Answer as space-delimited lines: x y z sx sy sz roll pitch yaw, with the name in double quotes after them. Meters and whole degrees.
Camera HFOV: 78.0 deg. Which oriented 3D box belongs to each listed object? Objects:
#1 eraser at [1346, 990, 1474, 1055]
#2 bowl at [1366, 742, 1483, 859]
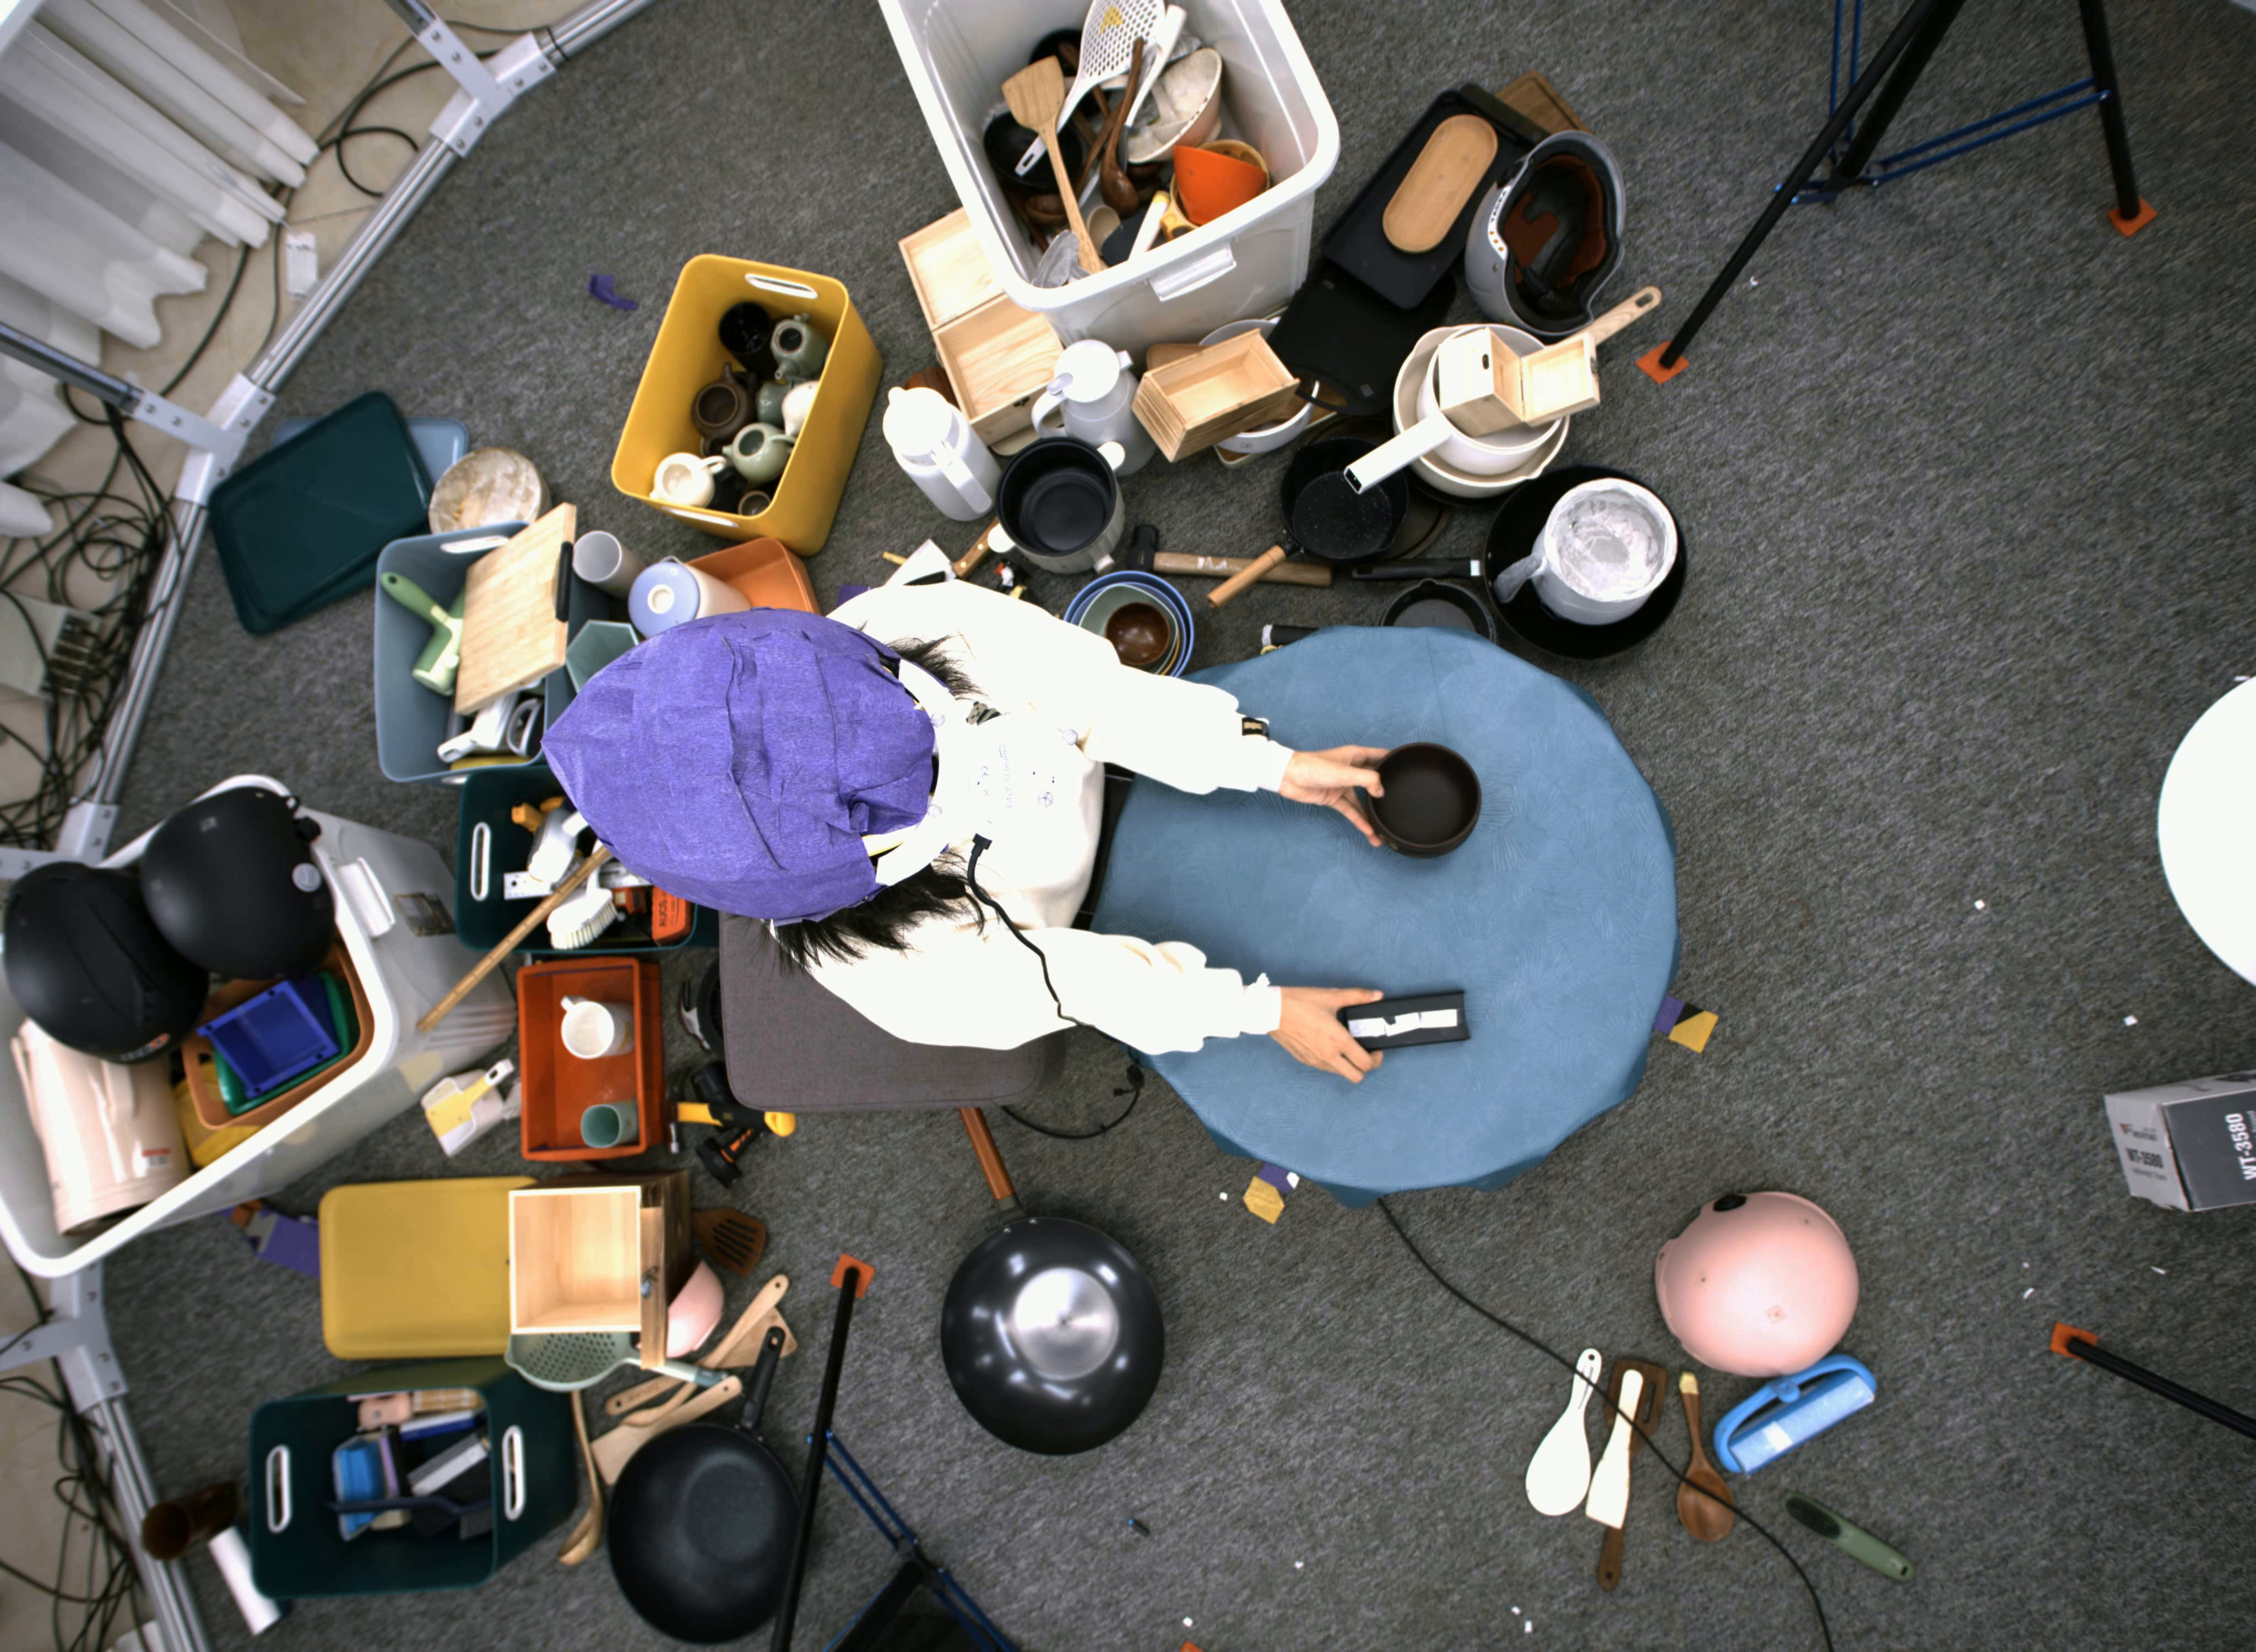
0.292 0.202 1.435 0.126 0.030 0.053 -9 85 12 "eraser"
0.304 -0.023 1.415 0.118 0.070 0.116 -3 74 8 "bowl"
